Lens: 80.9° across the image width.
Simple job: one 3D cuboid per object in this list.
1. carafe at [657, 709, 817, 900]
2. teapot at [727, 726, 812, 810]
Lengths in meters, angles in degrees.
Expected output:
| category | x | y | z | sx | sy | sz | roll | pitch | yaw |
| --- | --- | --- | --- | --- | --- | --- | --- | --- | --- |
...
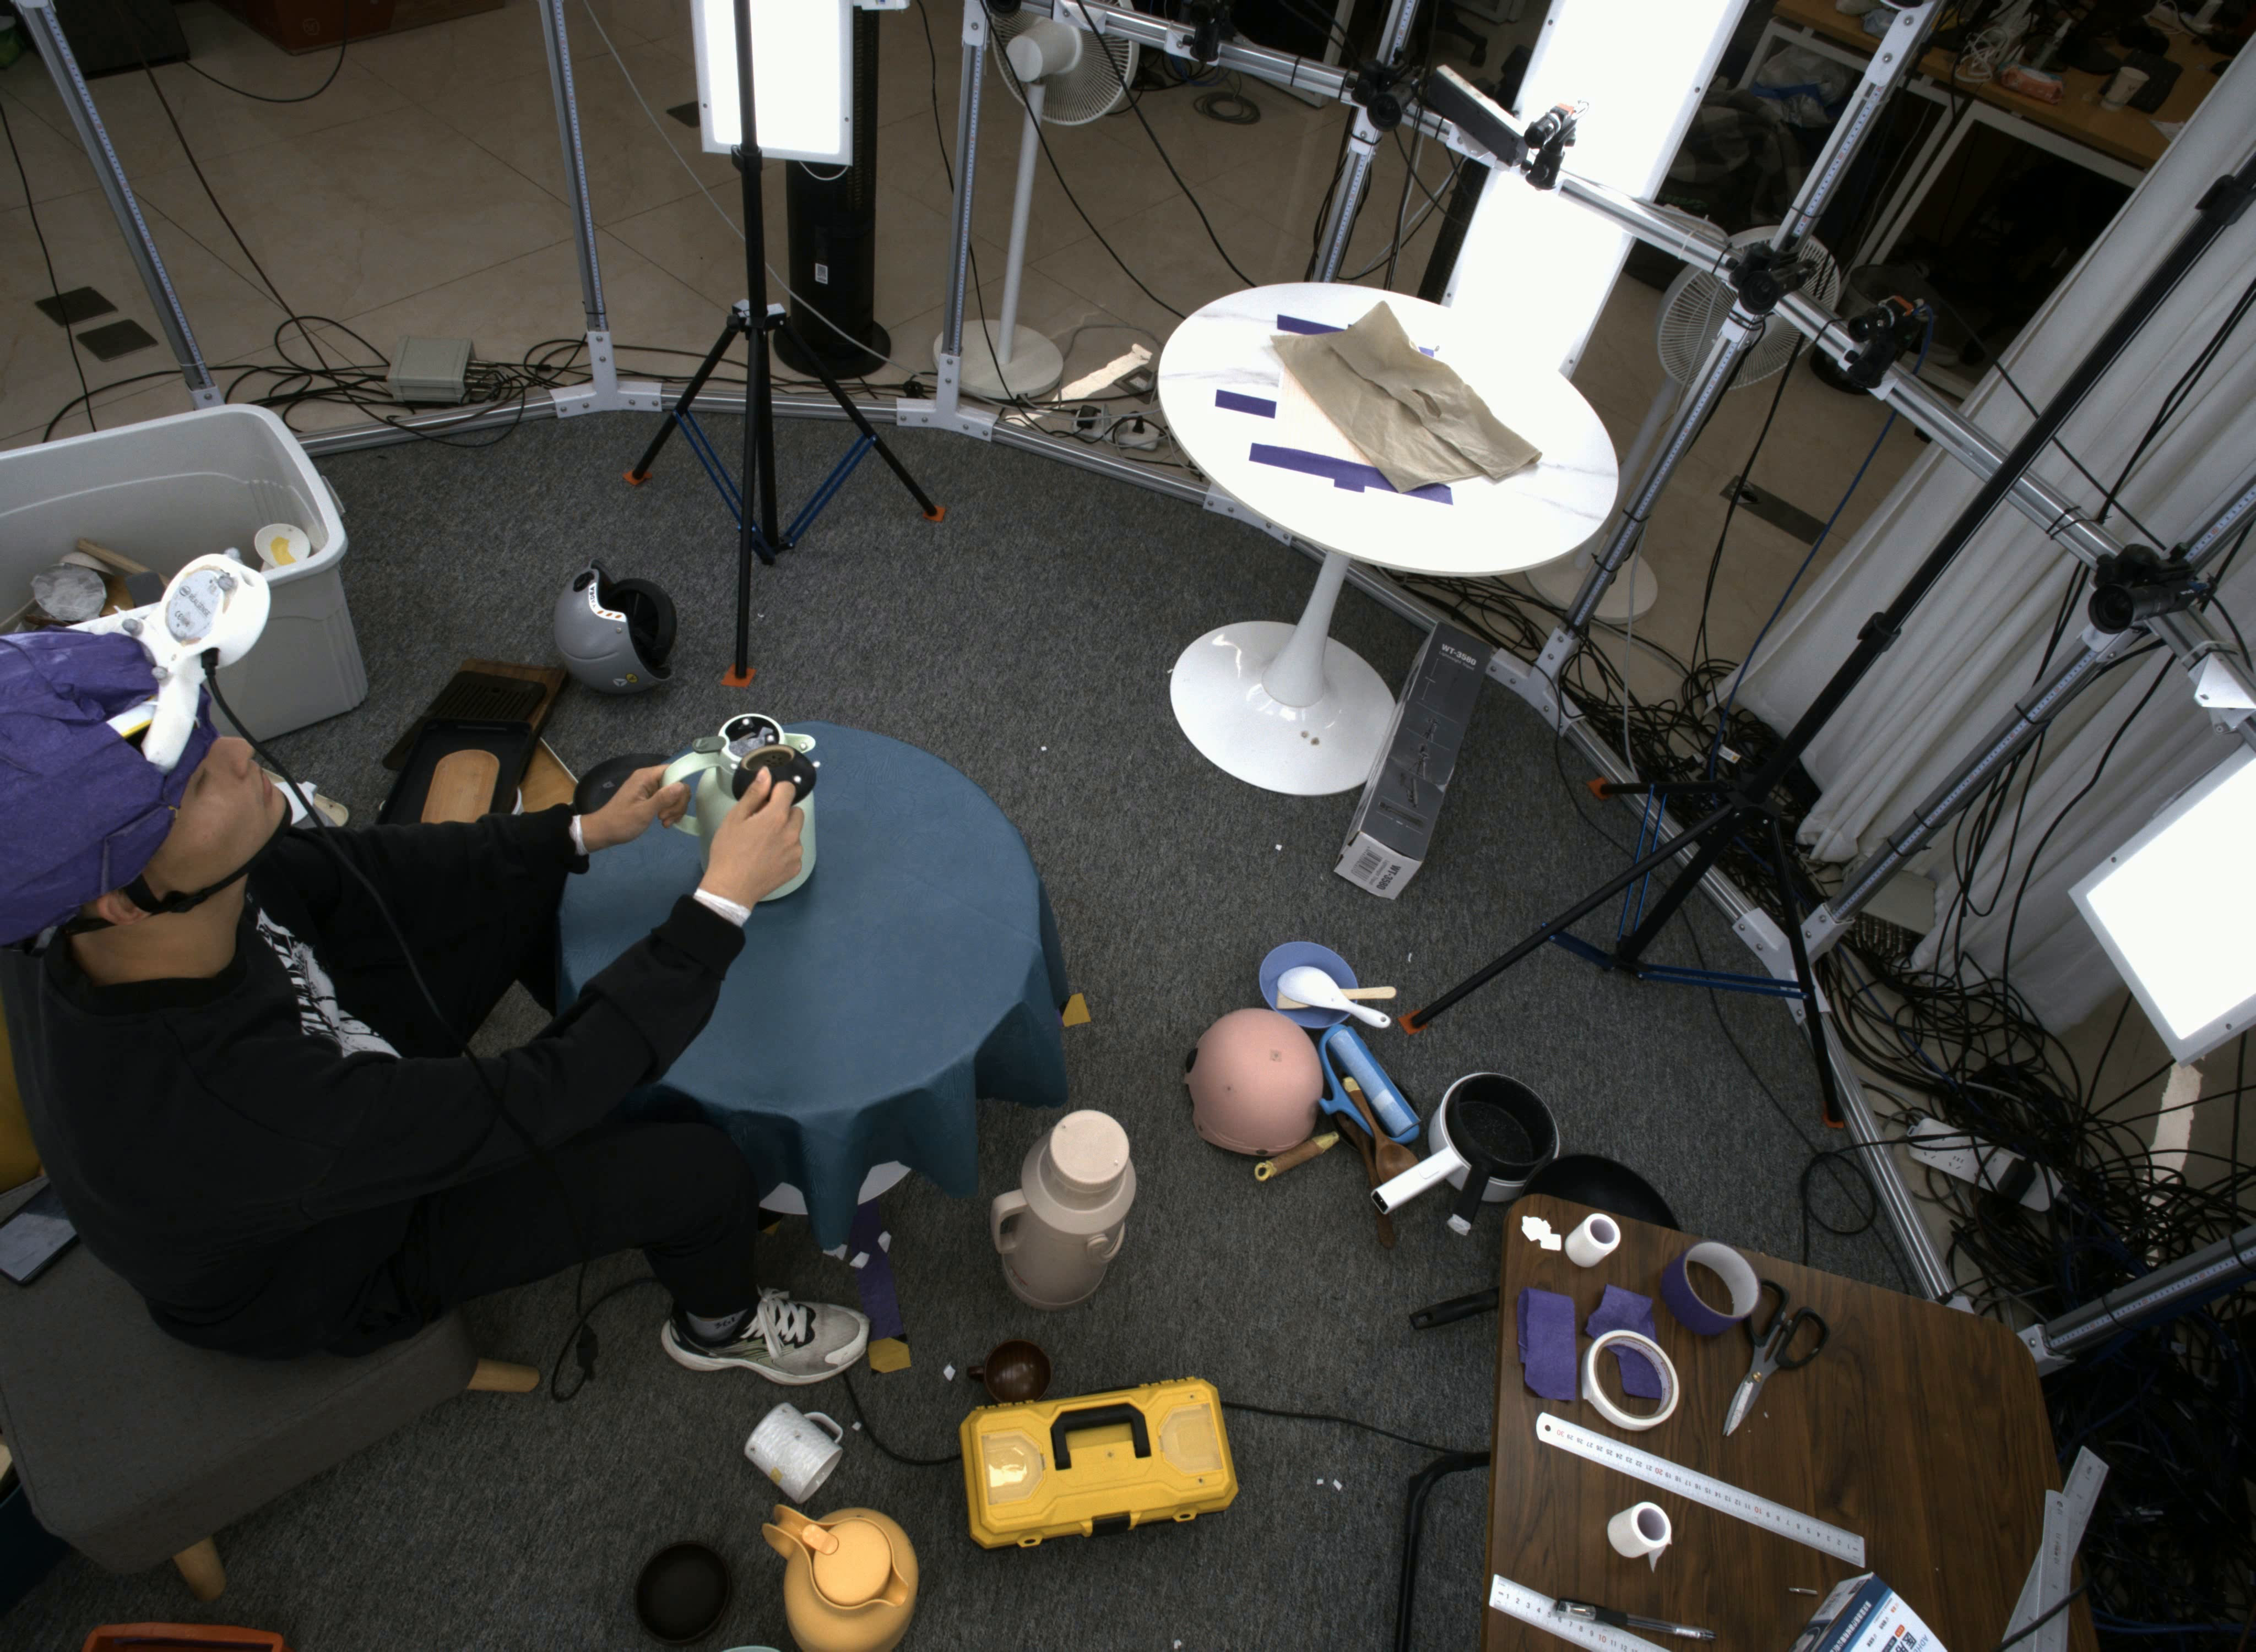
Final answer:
| category | x | y | z | sx | sy | sz | roll | pitch | yaw |
| --- | --- | --- | --- | --- | --- | --- | --- | --- | --- |
| carafe | -0.469 | -0.031 | 1.569 | 0.187 | 0.262 | 0.141 | -14 | 60 | -18 |
| teapot | -0.384 | -0.057 | 1.380 | 0.090 | 0.055 | 0.129 | -12 | 33 | -9 |
